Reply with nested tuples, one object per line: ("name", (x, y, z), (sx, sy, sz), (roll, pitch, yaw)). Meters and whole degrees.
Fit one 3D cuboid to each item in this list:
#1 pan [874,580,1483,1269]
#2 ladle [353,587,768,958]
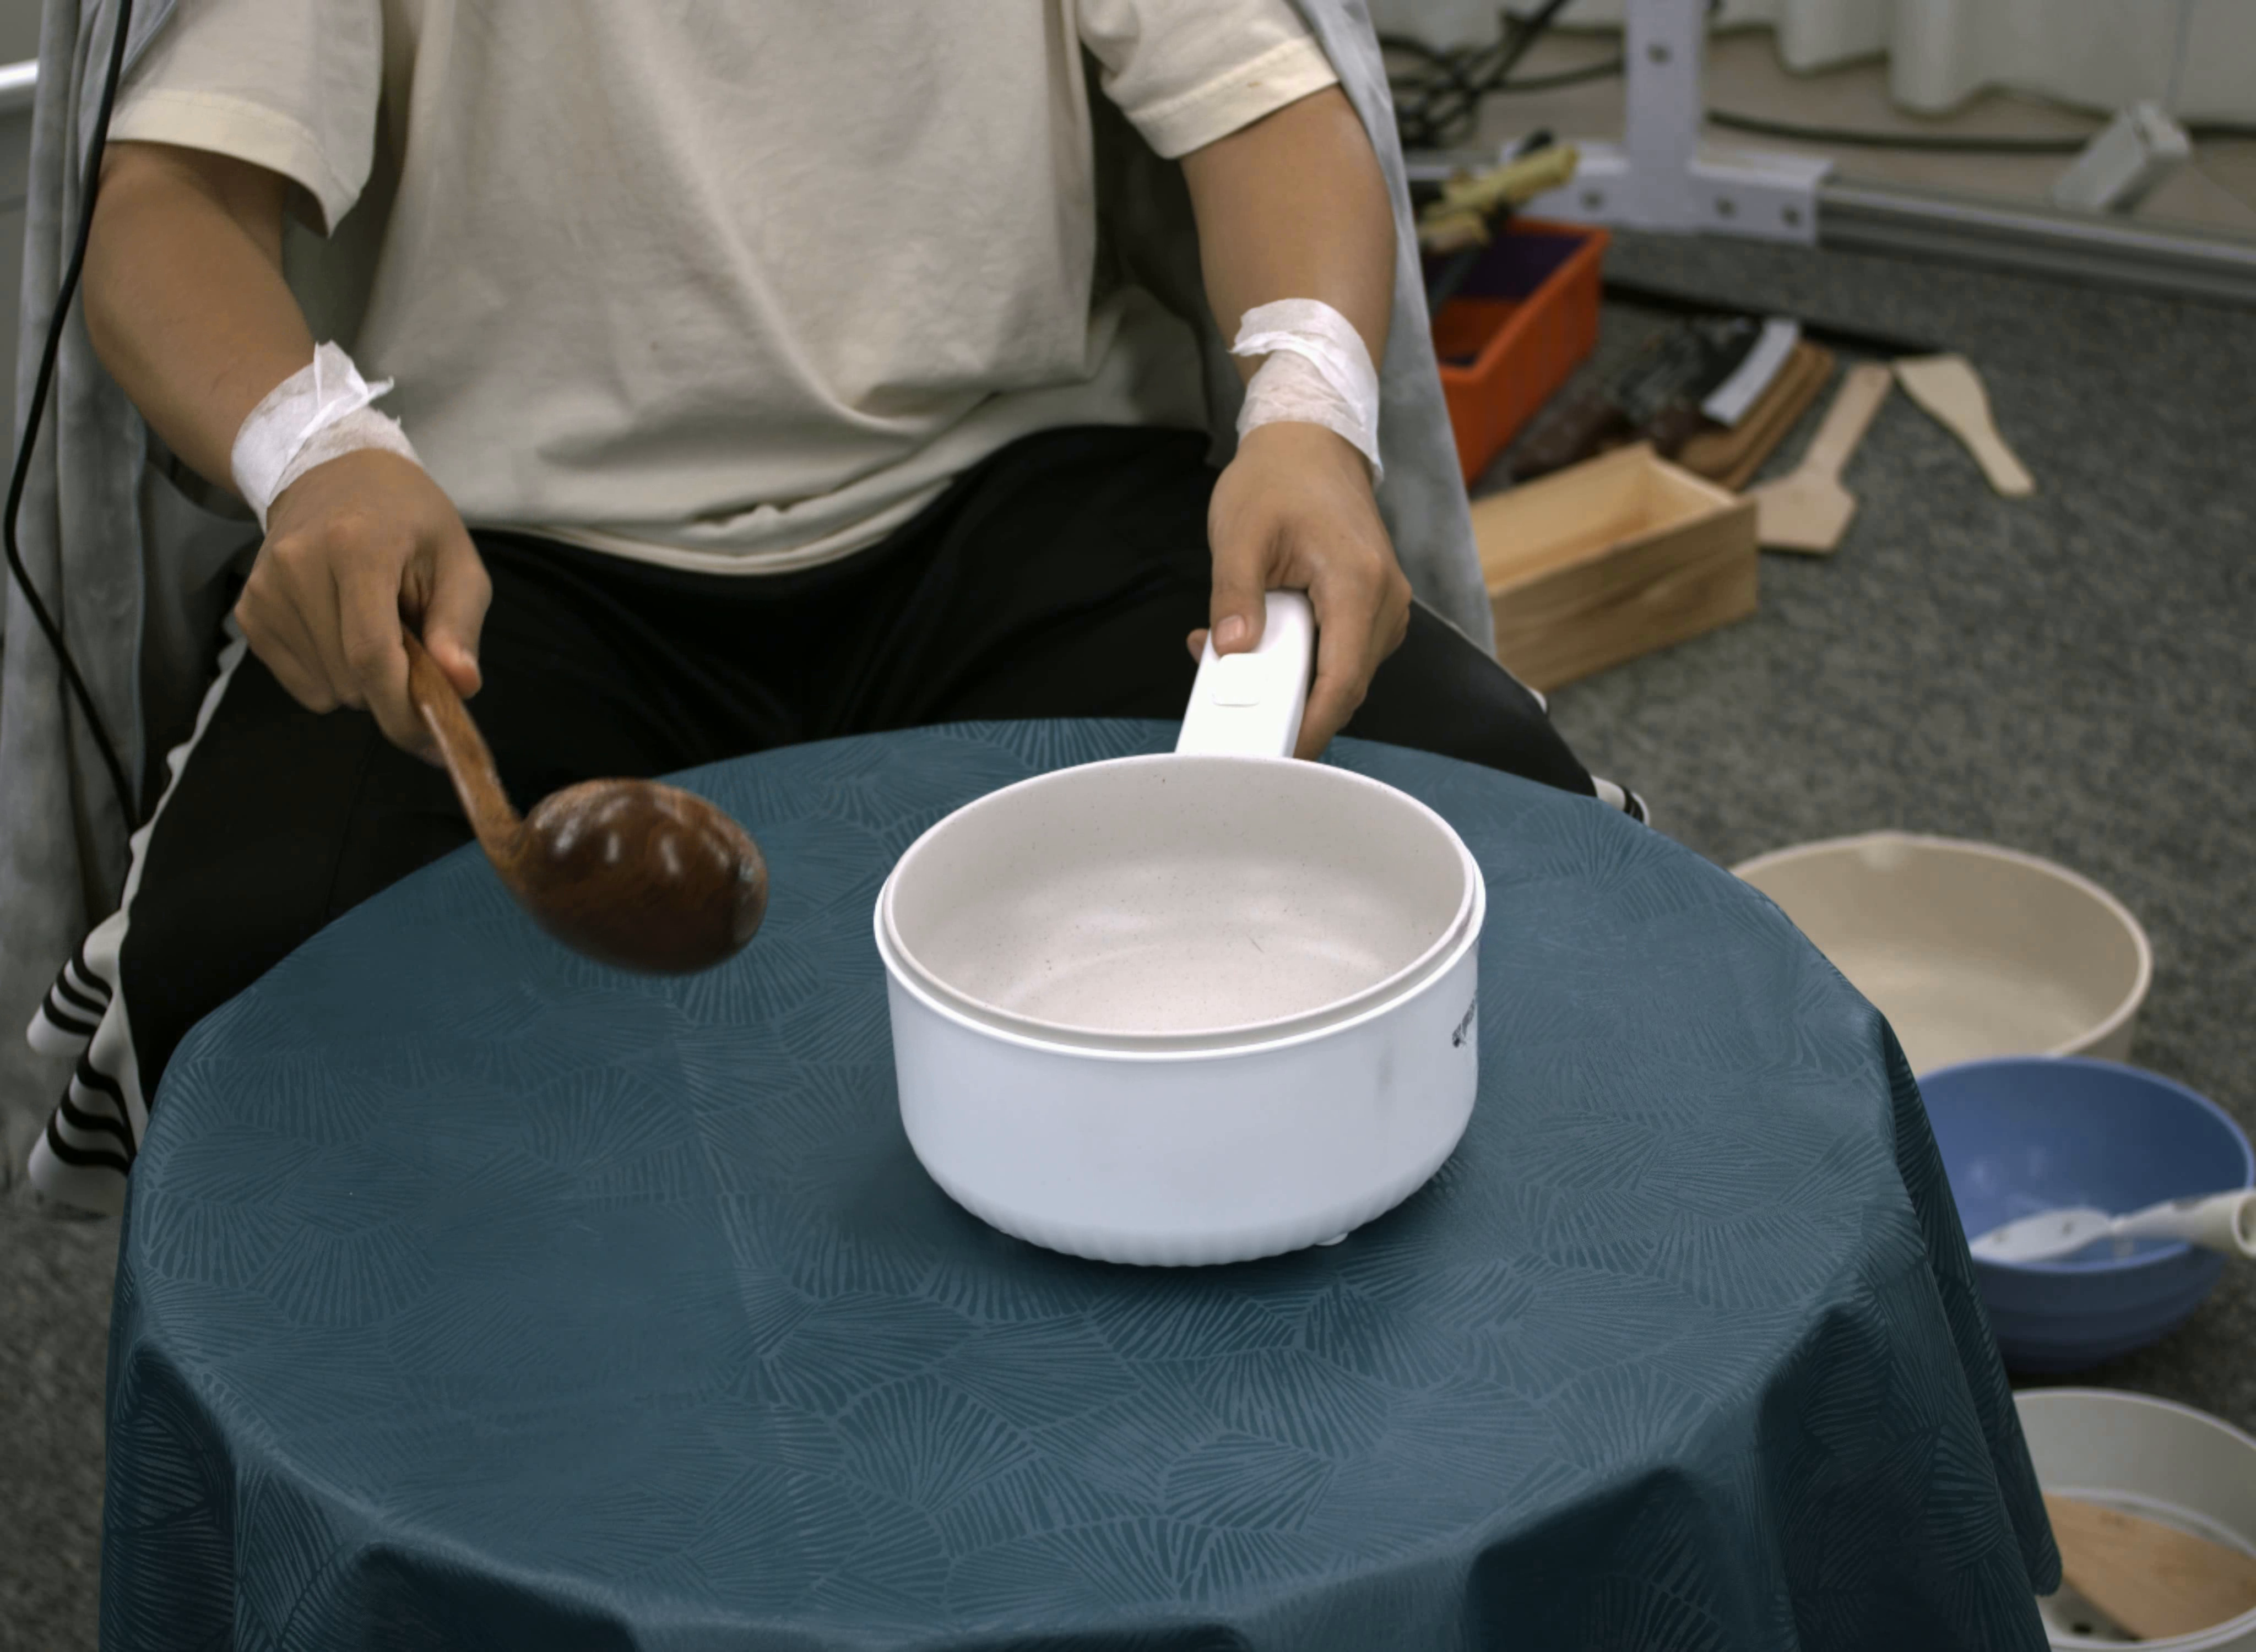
("pan", (0.031, 0.031, 1.930), (0.200, 0.101, 0.360), (0, 26, 9))
("ladle", (-0.191, -0.036, 1.860), (0.077, 0.081, 0.276), (-30, 33, -6))
